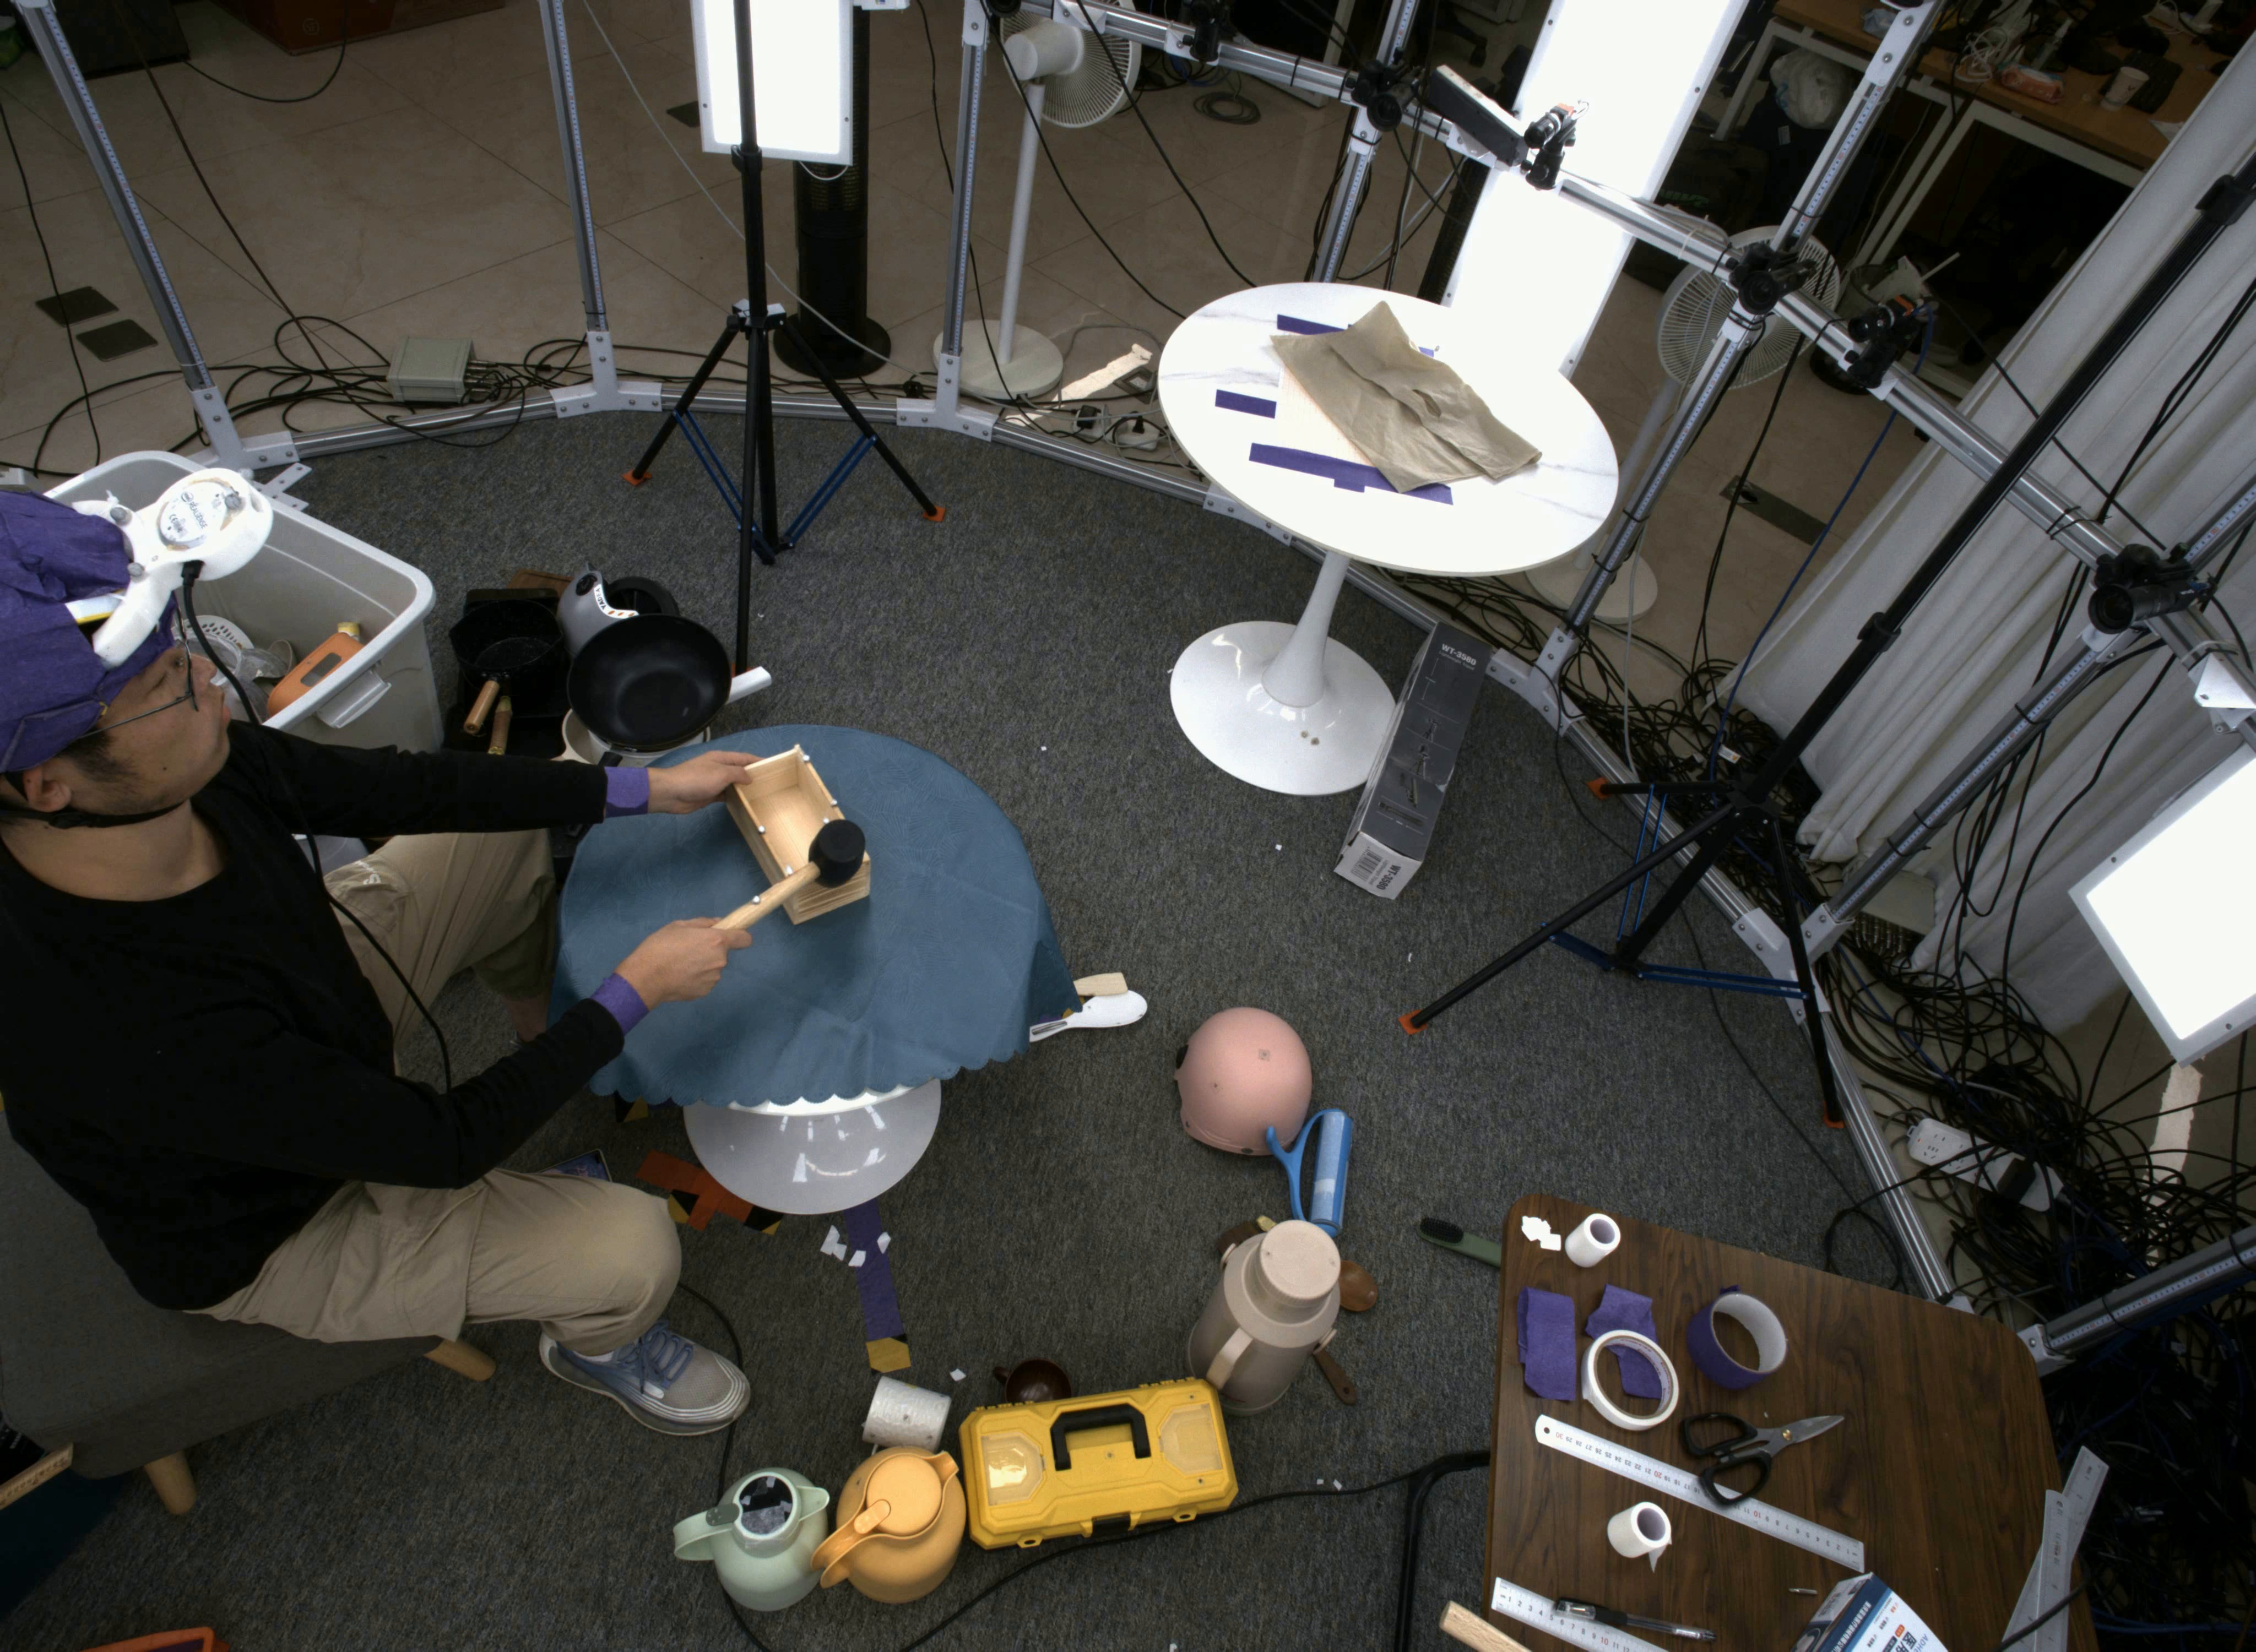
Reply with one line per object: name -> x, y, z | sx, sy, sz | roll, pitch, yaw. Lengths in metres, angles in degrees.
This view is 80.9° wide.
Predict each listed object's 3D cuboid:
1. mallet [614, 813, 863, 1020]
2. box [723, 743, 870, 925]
mallet -> -0.449, 0.098, 1.484 | 0.339, 0.102, 0.064 | -35, 80, -27
box -> -0.426, 0.007, 1.664 | 0.108, 0.082, 0.206 | -24, 62, -27
